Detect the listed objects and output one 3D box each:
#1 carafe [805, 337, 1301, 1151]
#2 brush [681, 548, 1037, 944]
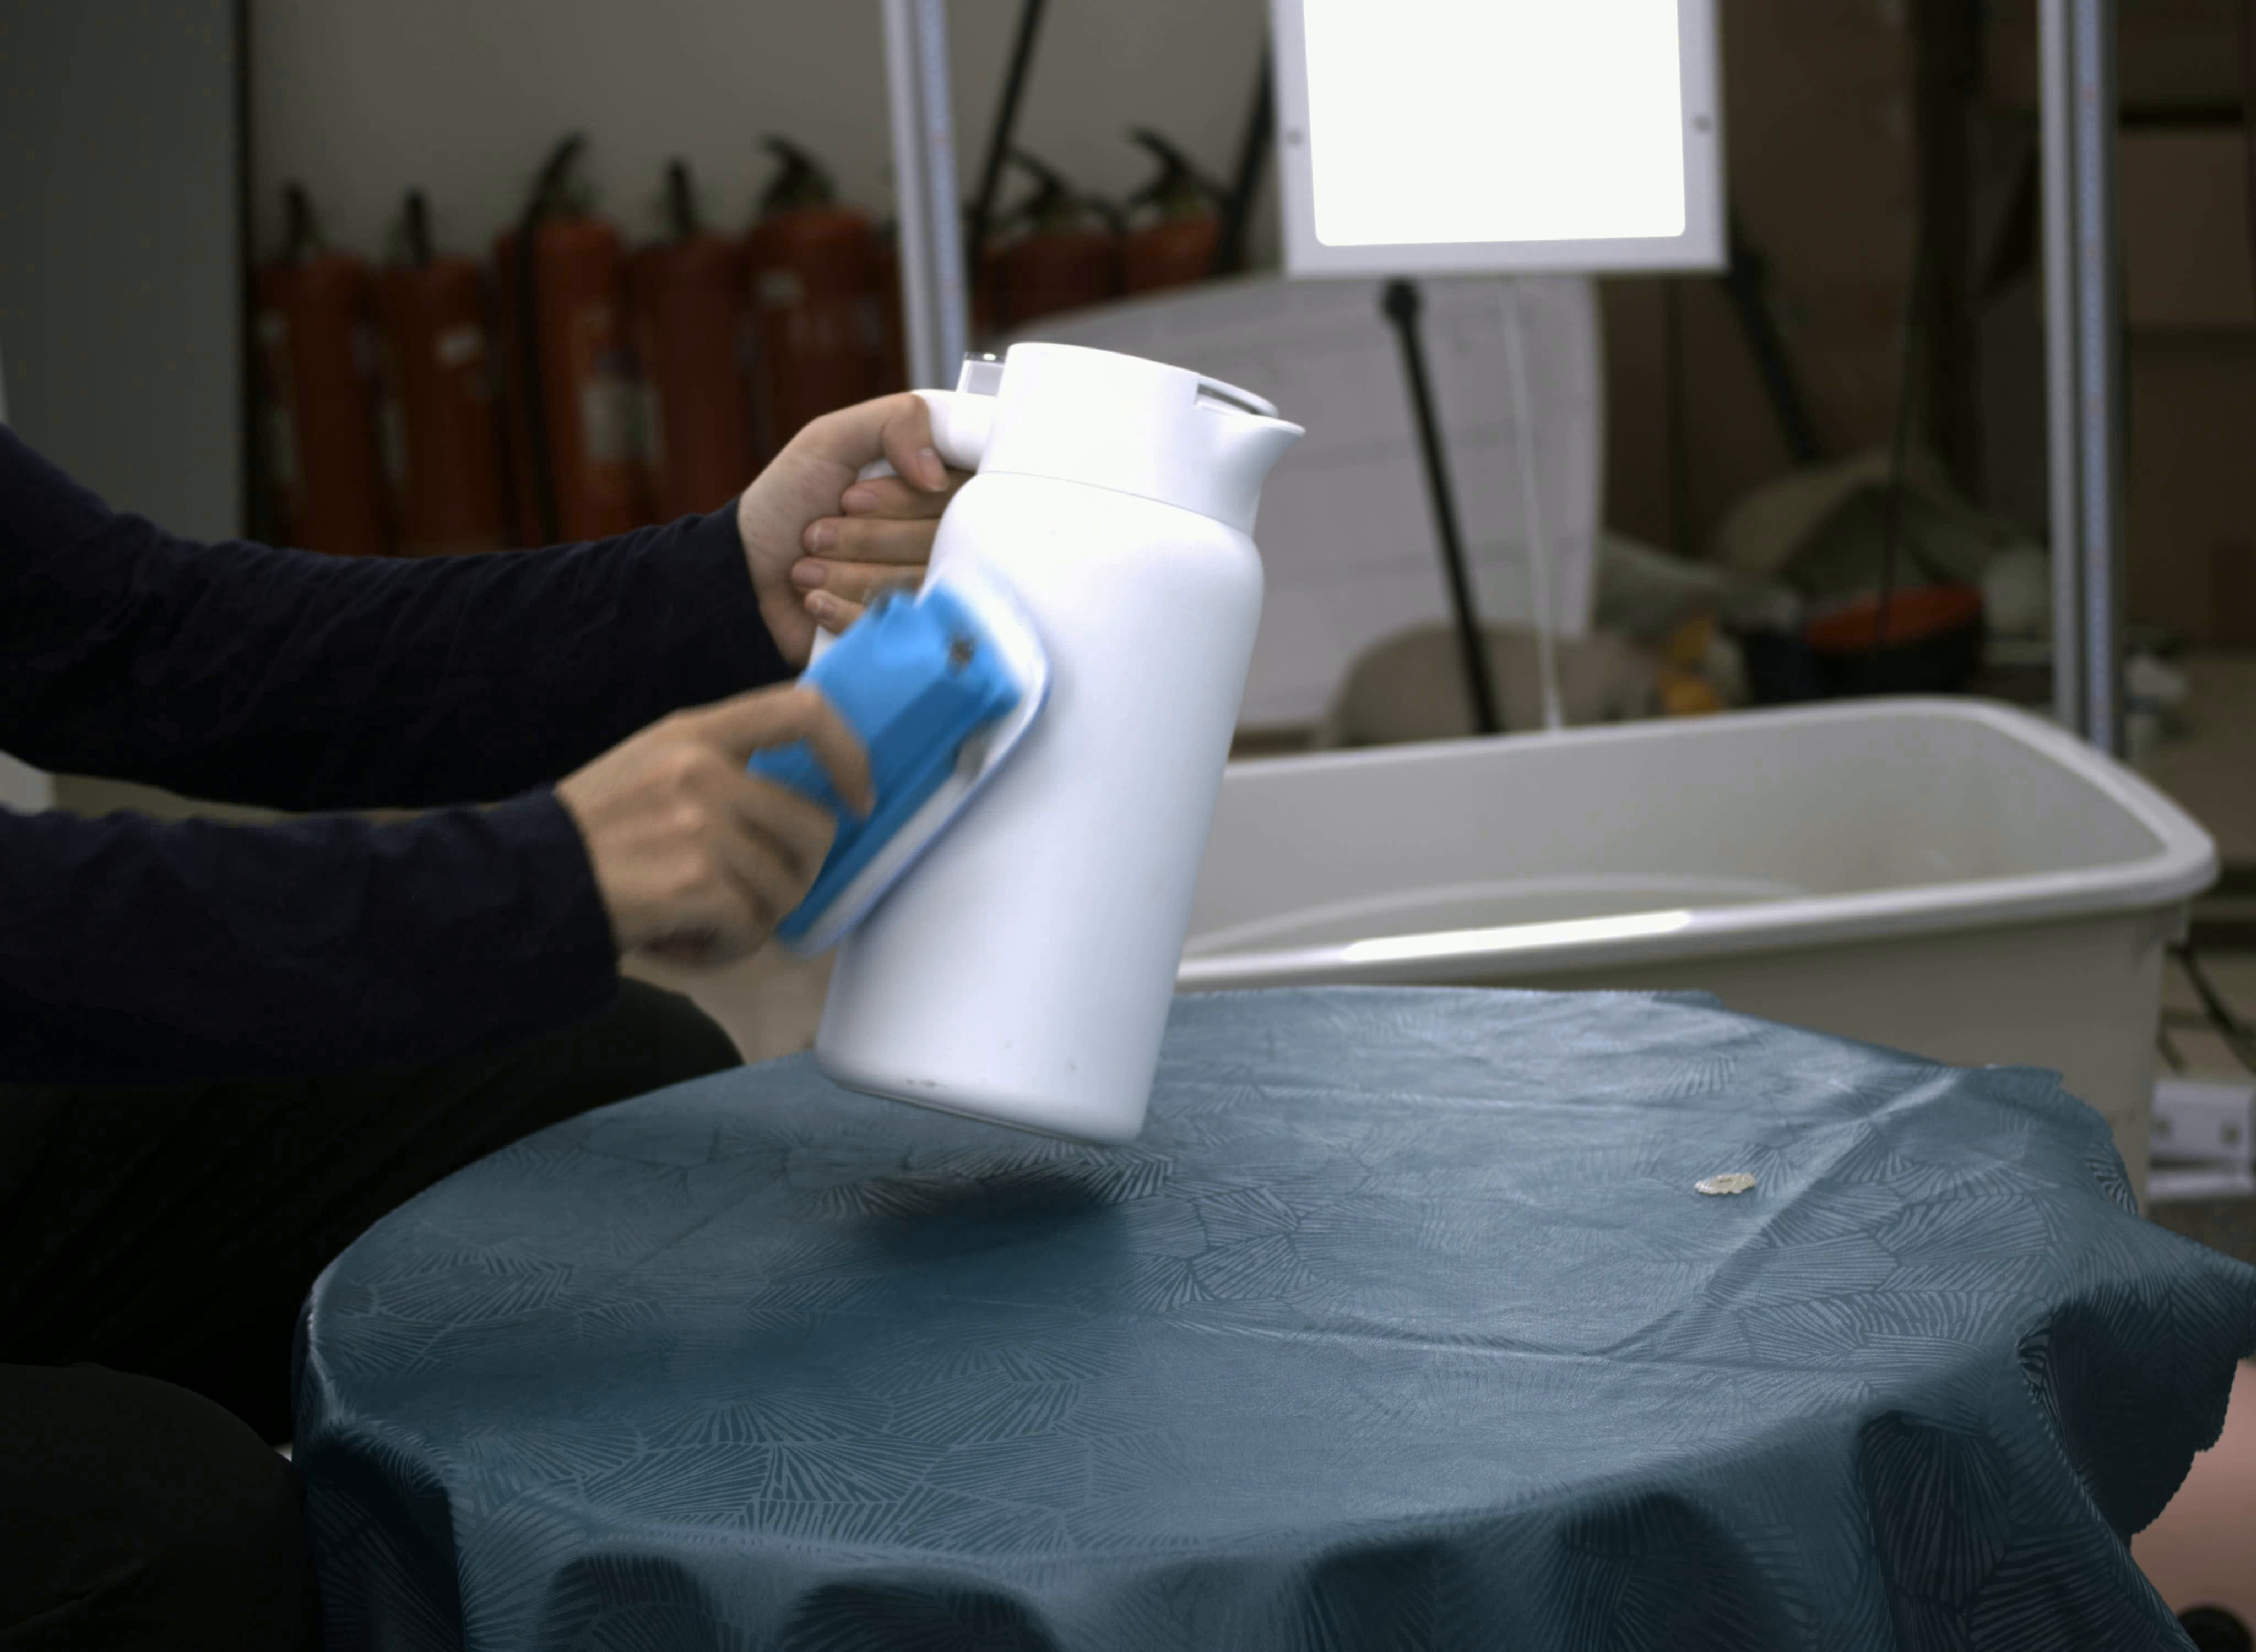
[{"bbox_3d":[-0.041,-0.031,1.914,0.176,0.269,0.121,10,-3,34],"label":"carafe"},{"bbox_3d":[-0.097,-0.032,1.852,0.055,0.146,0.084,27,28,-45],"label":"brush"}]
